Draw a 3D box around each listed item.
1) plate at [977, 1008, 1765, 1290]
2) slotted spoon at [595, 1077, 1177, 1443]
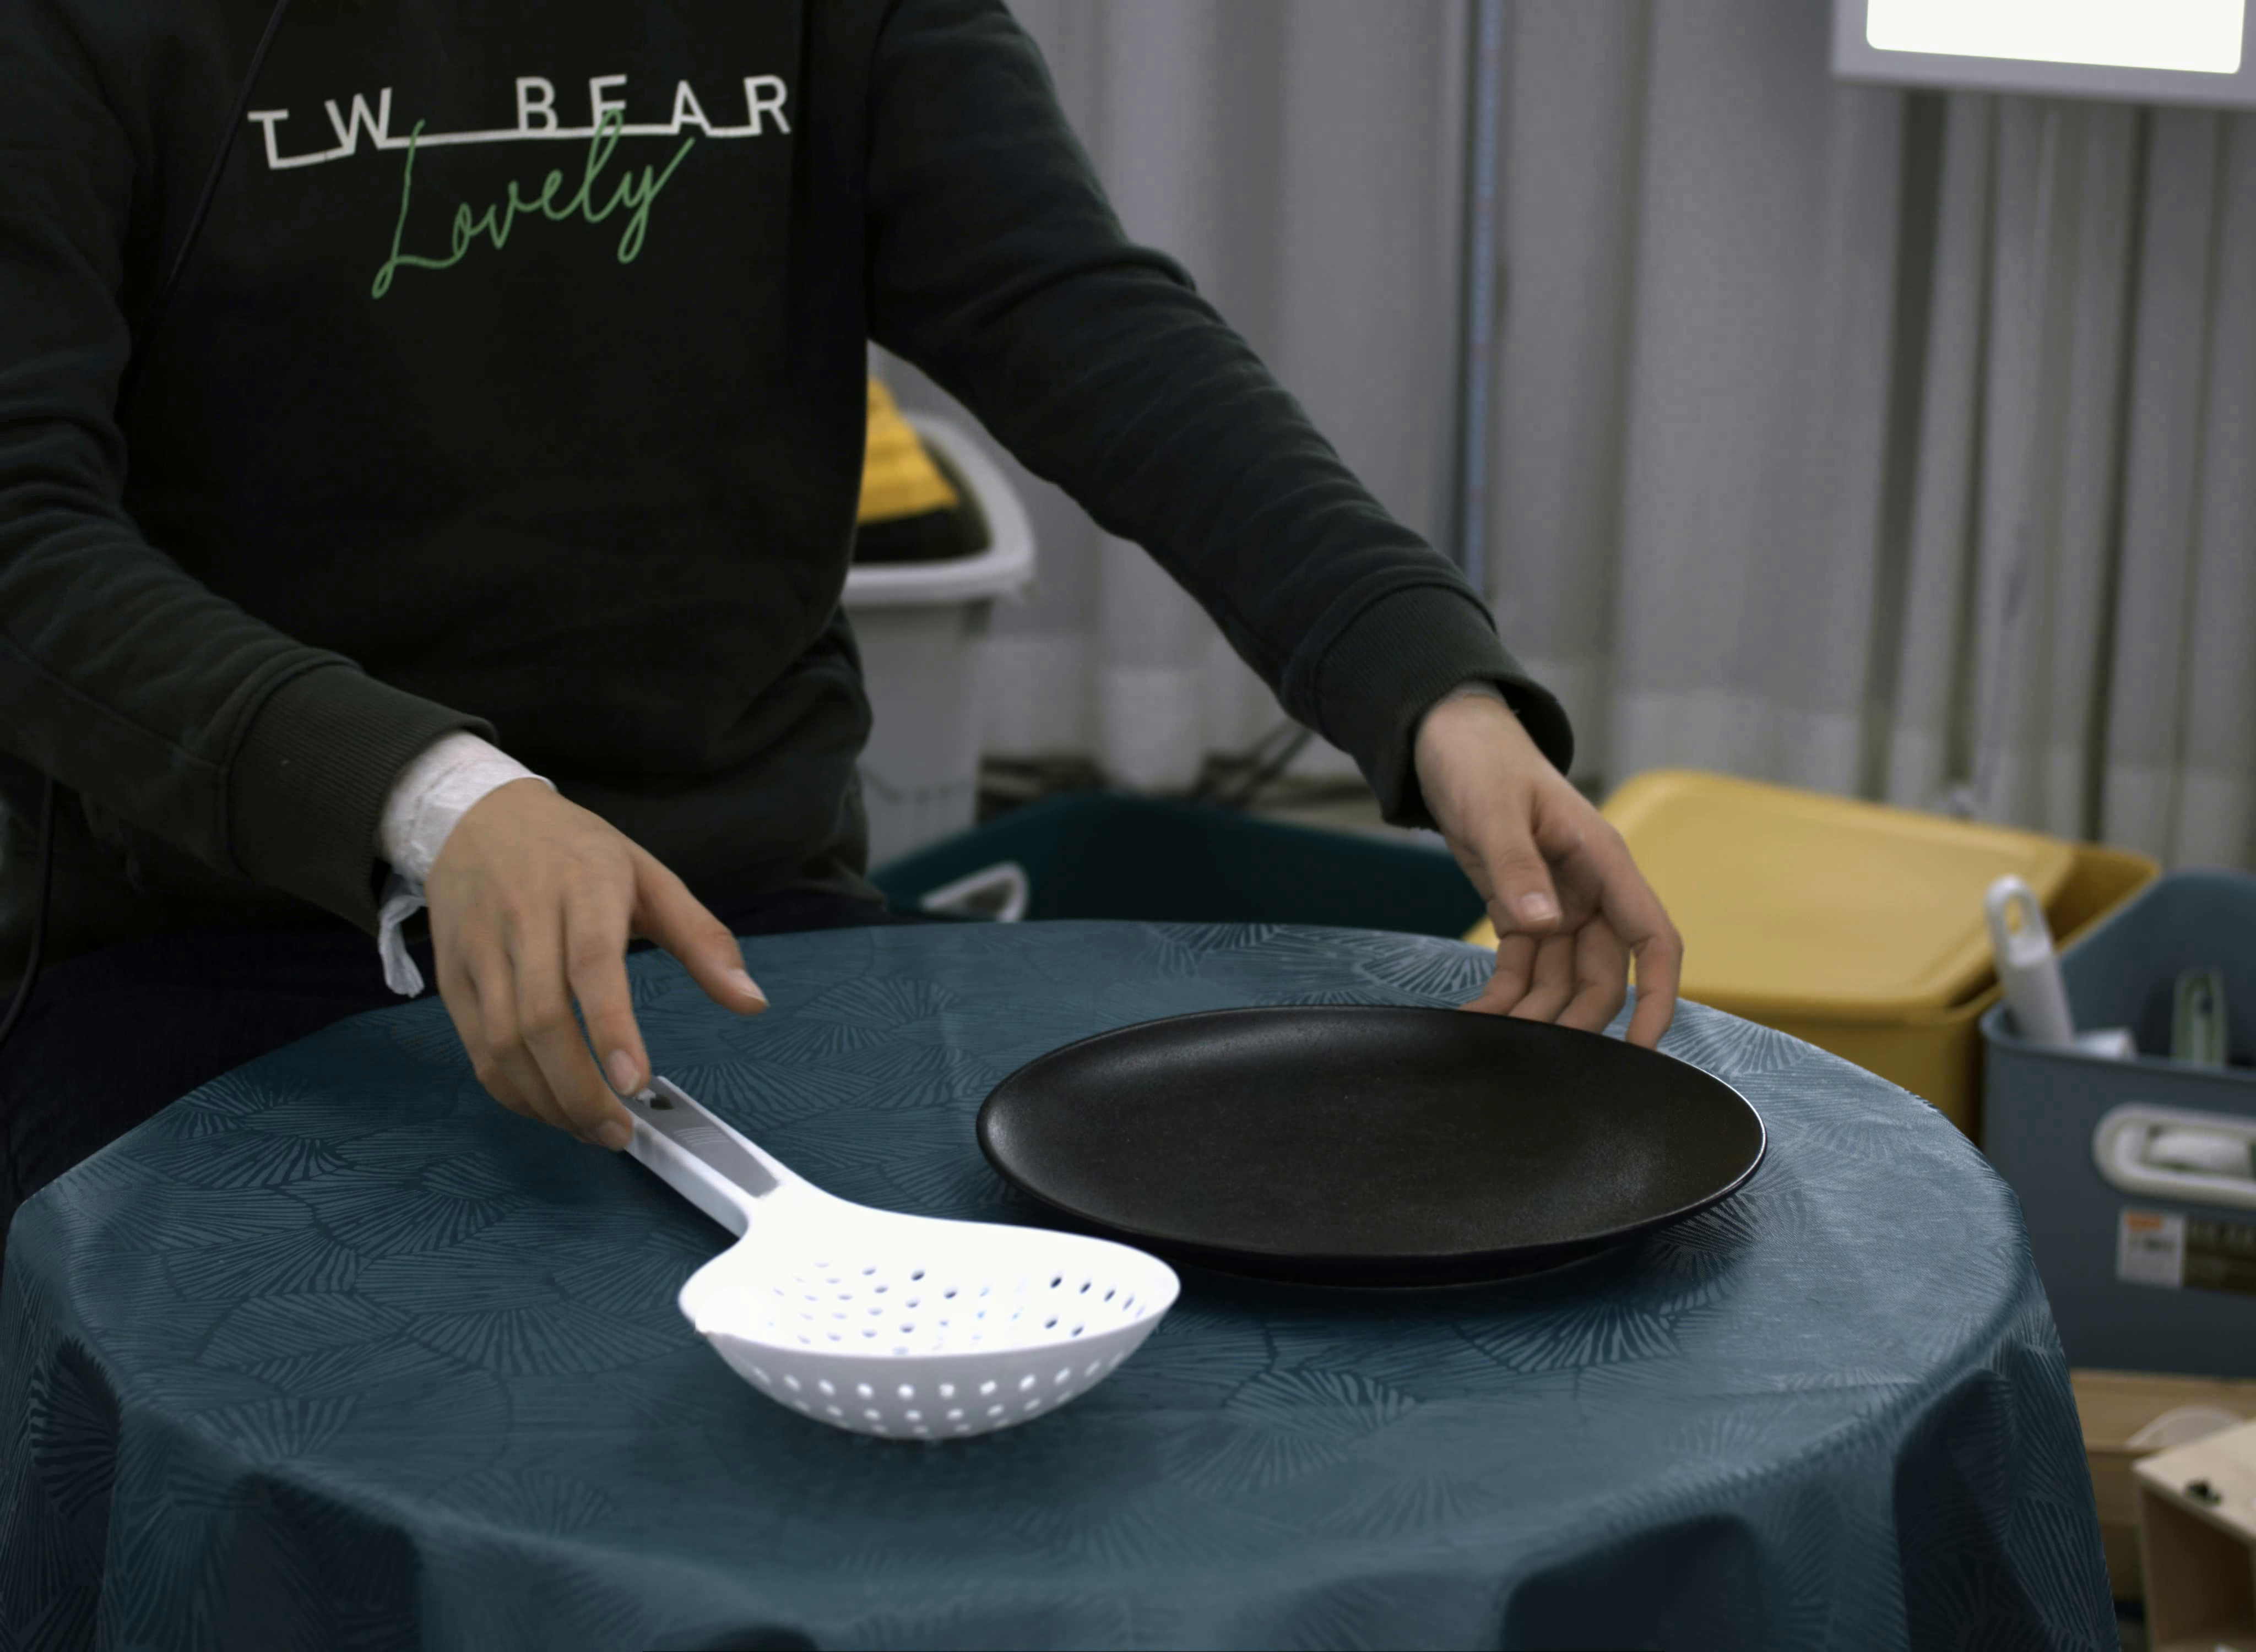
[{"bbox_3d":[0.074,0.102,1.626,0.243,0.023,0.243,1,16,0],"label":"plate"},{"bbox_3d":[-0.095,0.116,1.527,0.136,0.046,0.346,-4,15,-22],"label":"slotted spoon"}]
